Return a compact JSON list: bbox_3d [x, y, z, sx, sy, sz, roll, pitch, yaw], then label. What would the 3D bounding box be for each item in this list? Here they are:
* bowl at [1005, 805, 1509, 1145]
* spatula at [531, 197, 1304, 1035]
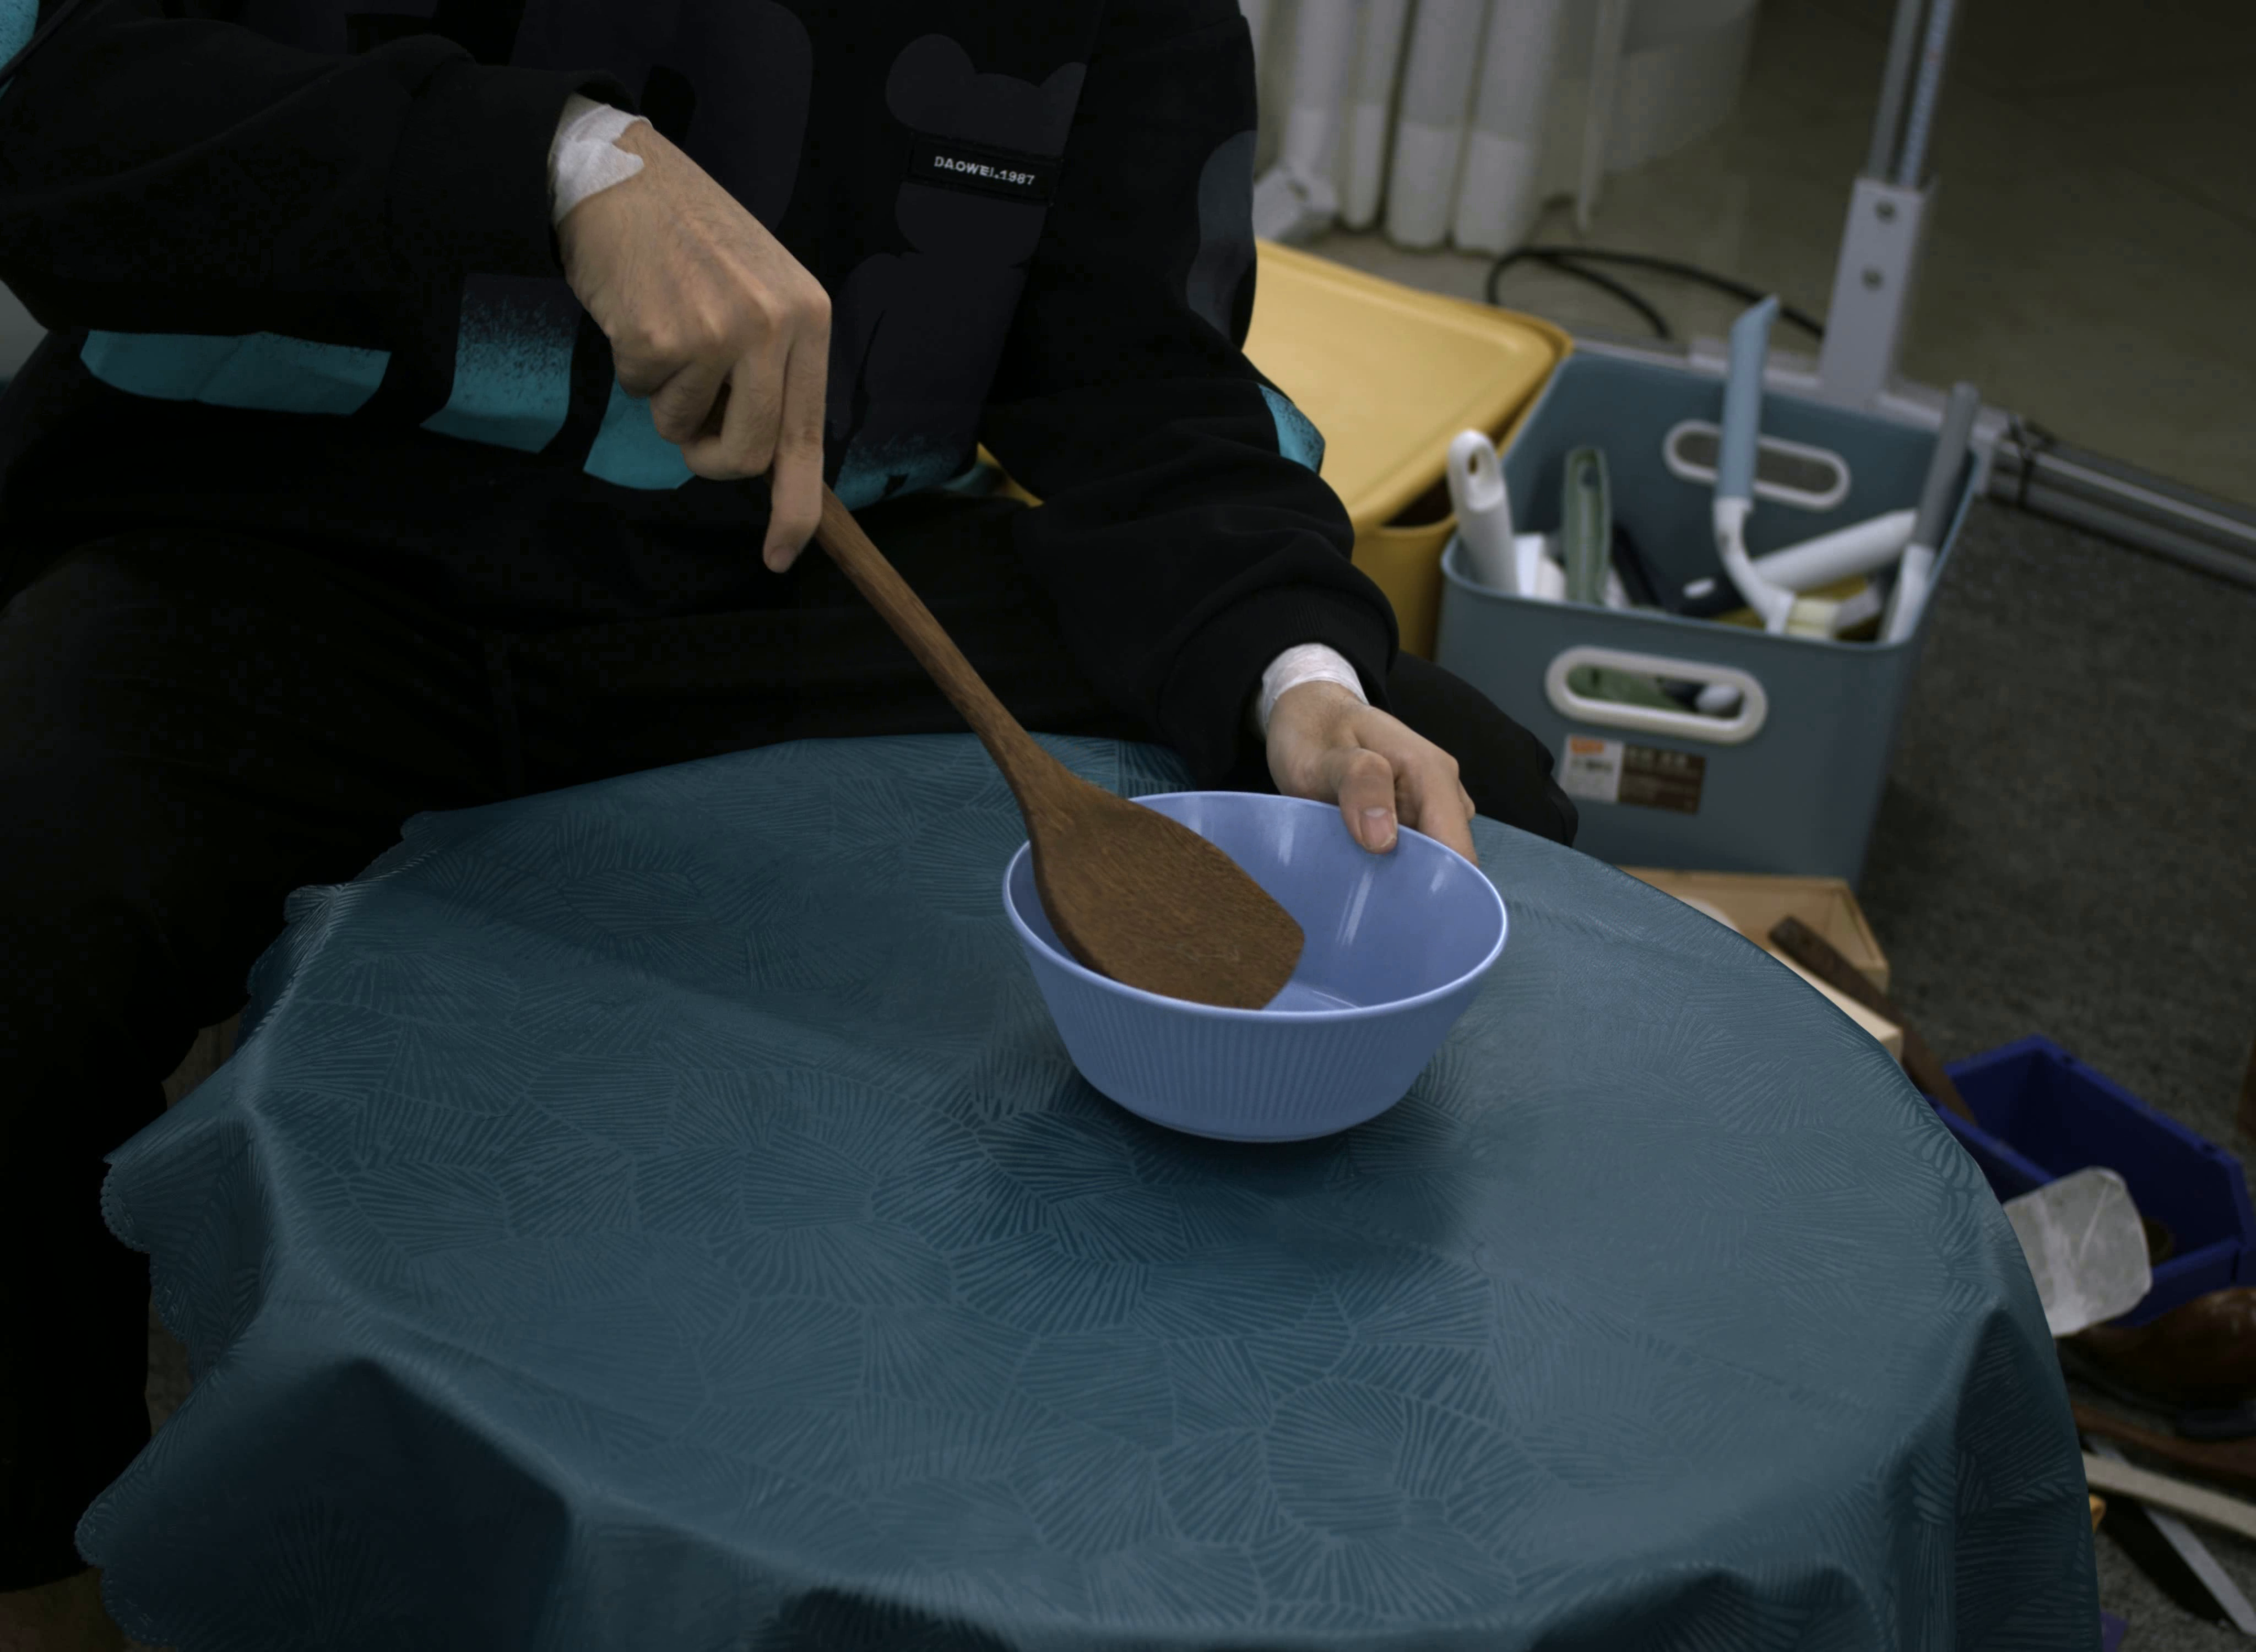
[{"bbox_3d":[0.043,0.057,1.850,0.175,0.070,0.177,3,23,-2],"label":"bowl"},{"bbox_3d":[-0.081,-0.078,1.846,0.387,0.016,0.096,49,40,9],"label":"spatula"}]
